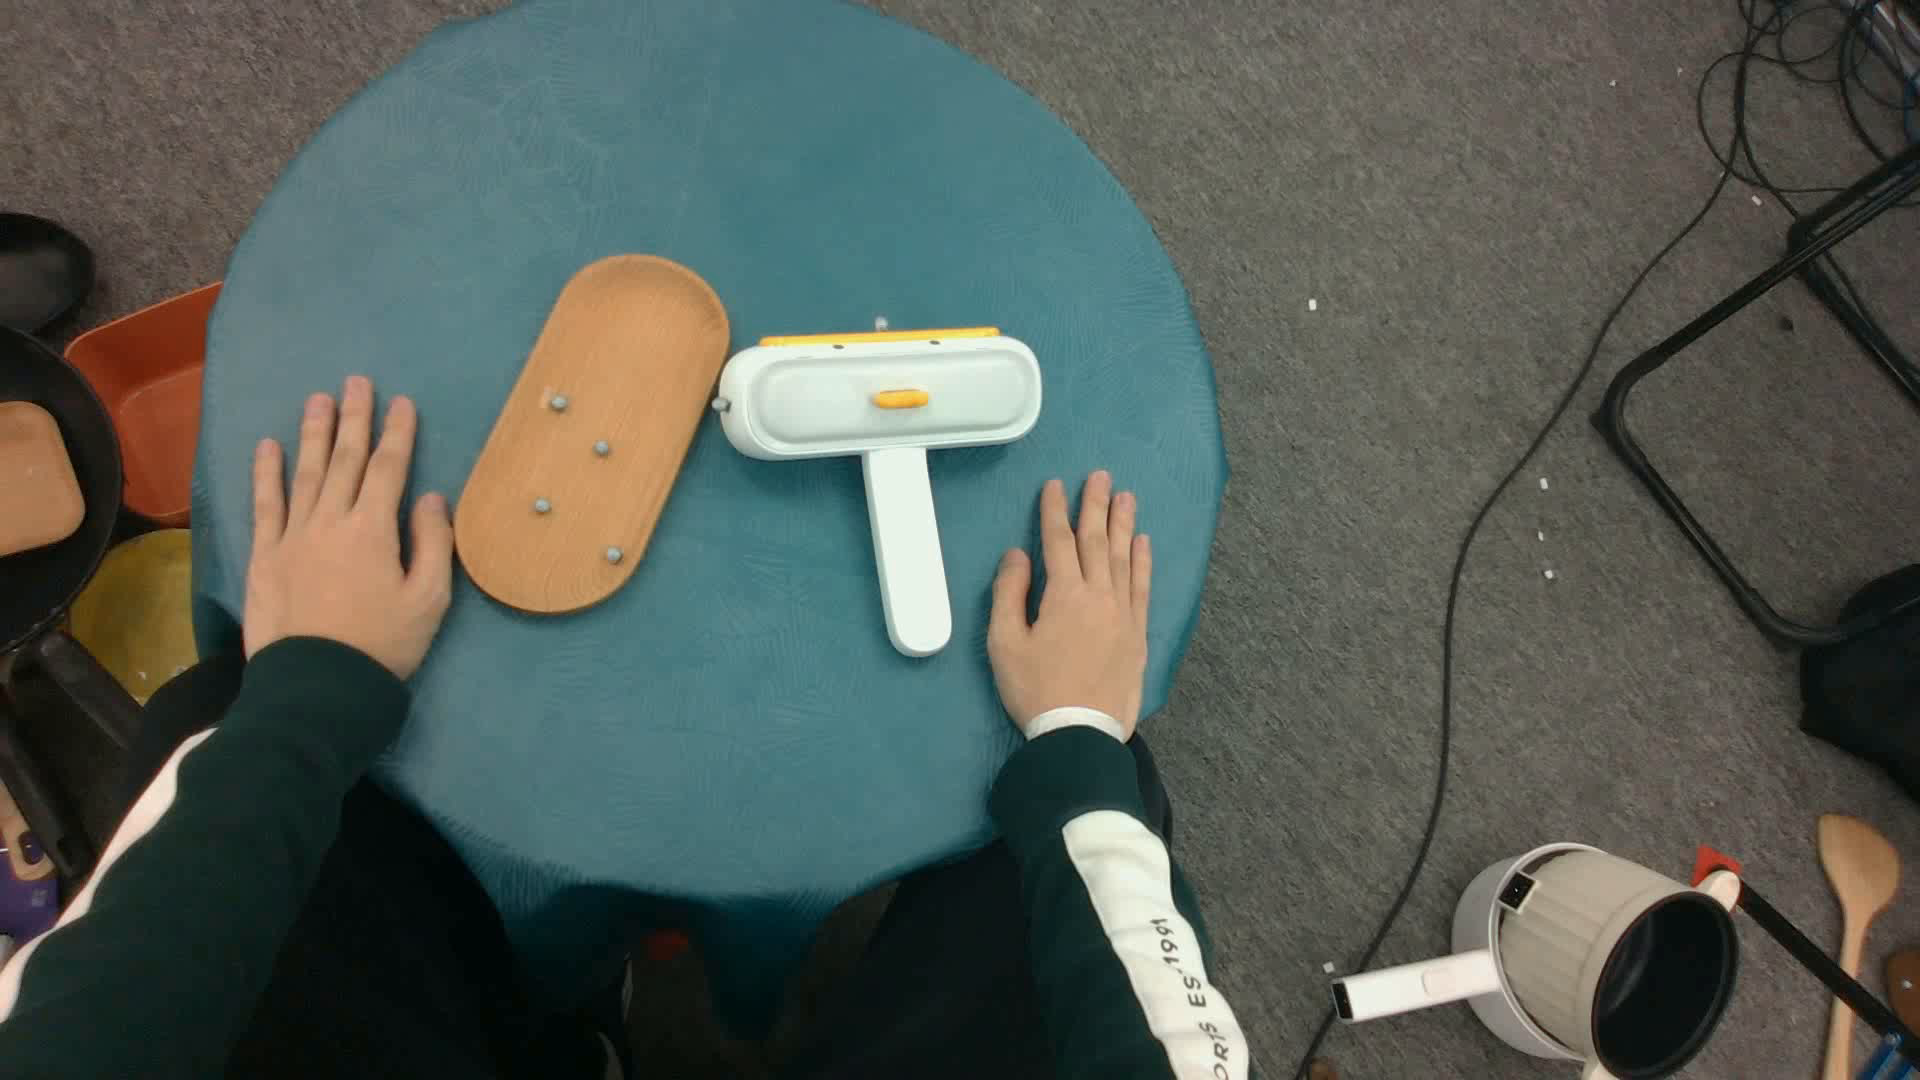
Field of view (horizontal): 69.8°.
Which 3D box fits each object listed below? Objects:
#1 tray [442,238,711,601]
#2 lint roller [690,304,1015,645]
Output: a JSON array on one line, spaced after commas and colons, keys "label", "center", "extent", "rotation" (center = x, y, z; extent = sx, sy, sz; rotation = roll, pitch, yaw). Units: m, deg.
[{"label": "tray", "center": [-0.214, -0.072, 0.783], "extent": [0.102, 0.020, 0.232], "rotation": [19, 66, -8]}, {"label": "lint roller", "center": [-0.046, -0.035, 0.794], "extent": [0.193, 0.074, 0.192], "rotation": [-11, 92, -24]}]
